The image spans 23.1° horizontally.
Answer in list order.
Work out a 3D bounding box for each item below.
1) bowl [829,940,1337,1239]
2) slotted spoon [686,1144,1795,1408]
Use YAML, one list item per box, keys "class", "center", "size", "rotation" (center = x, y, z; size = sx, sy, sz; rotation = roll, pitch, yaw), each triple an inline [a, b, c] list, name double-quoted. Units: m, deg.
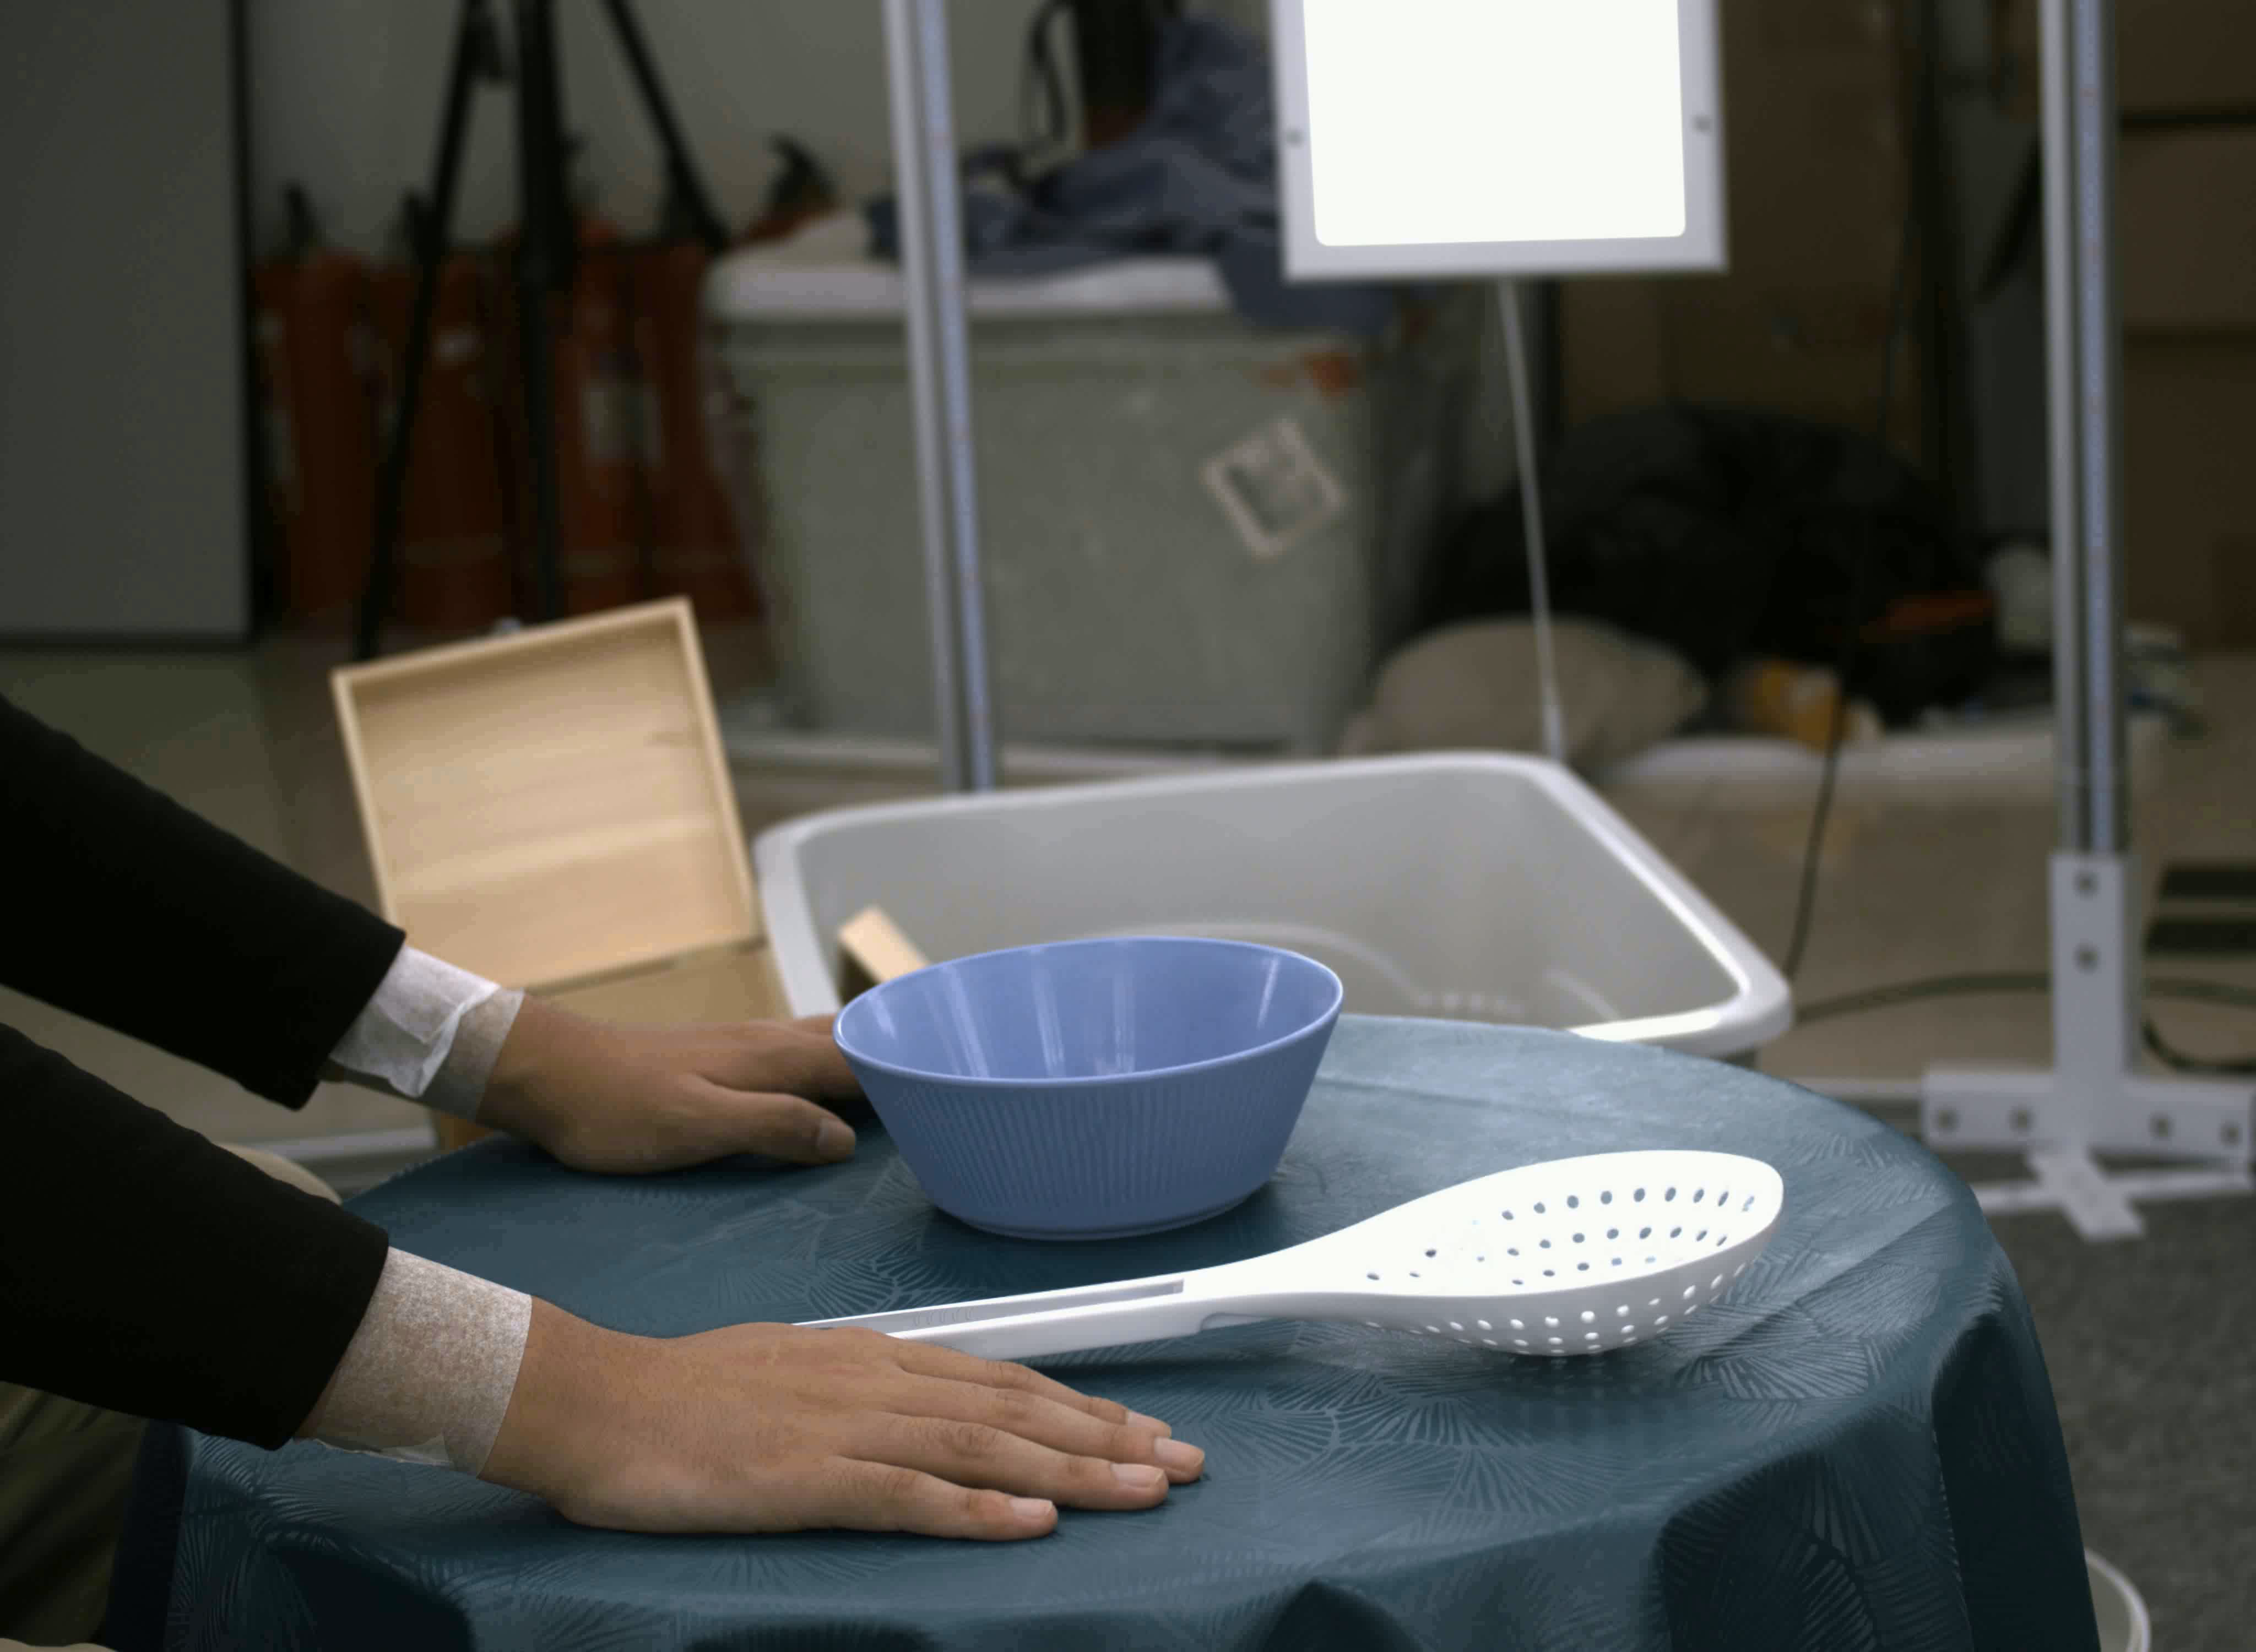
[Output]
- class: "bowl"
  center: [-0.013, 0.093, 1.893]
  size: [0.175, 0.070, 0.176]
  rotation: [-6, 14, 0]
- class: "slotted spoon"
  center: [0.034, 0.145, 1.713]
  size: [0.350, 0.046, 0.135]
  rotation: [-5, 14, 6]
